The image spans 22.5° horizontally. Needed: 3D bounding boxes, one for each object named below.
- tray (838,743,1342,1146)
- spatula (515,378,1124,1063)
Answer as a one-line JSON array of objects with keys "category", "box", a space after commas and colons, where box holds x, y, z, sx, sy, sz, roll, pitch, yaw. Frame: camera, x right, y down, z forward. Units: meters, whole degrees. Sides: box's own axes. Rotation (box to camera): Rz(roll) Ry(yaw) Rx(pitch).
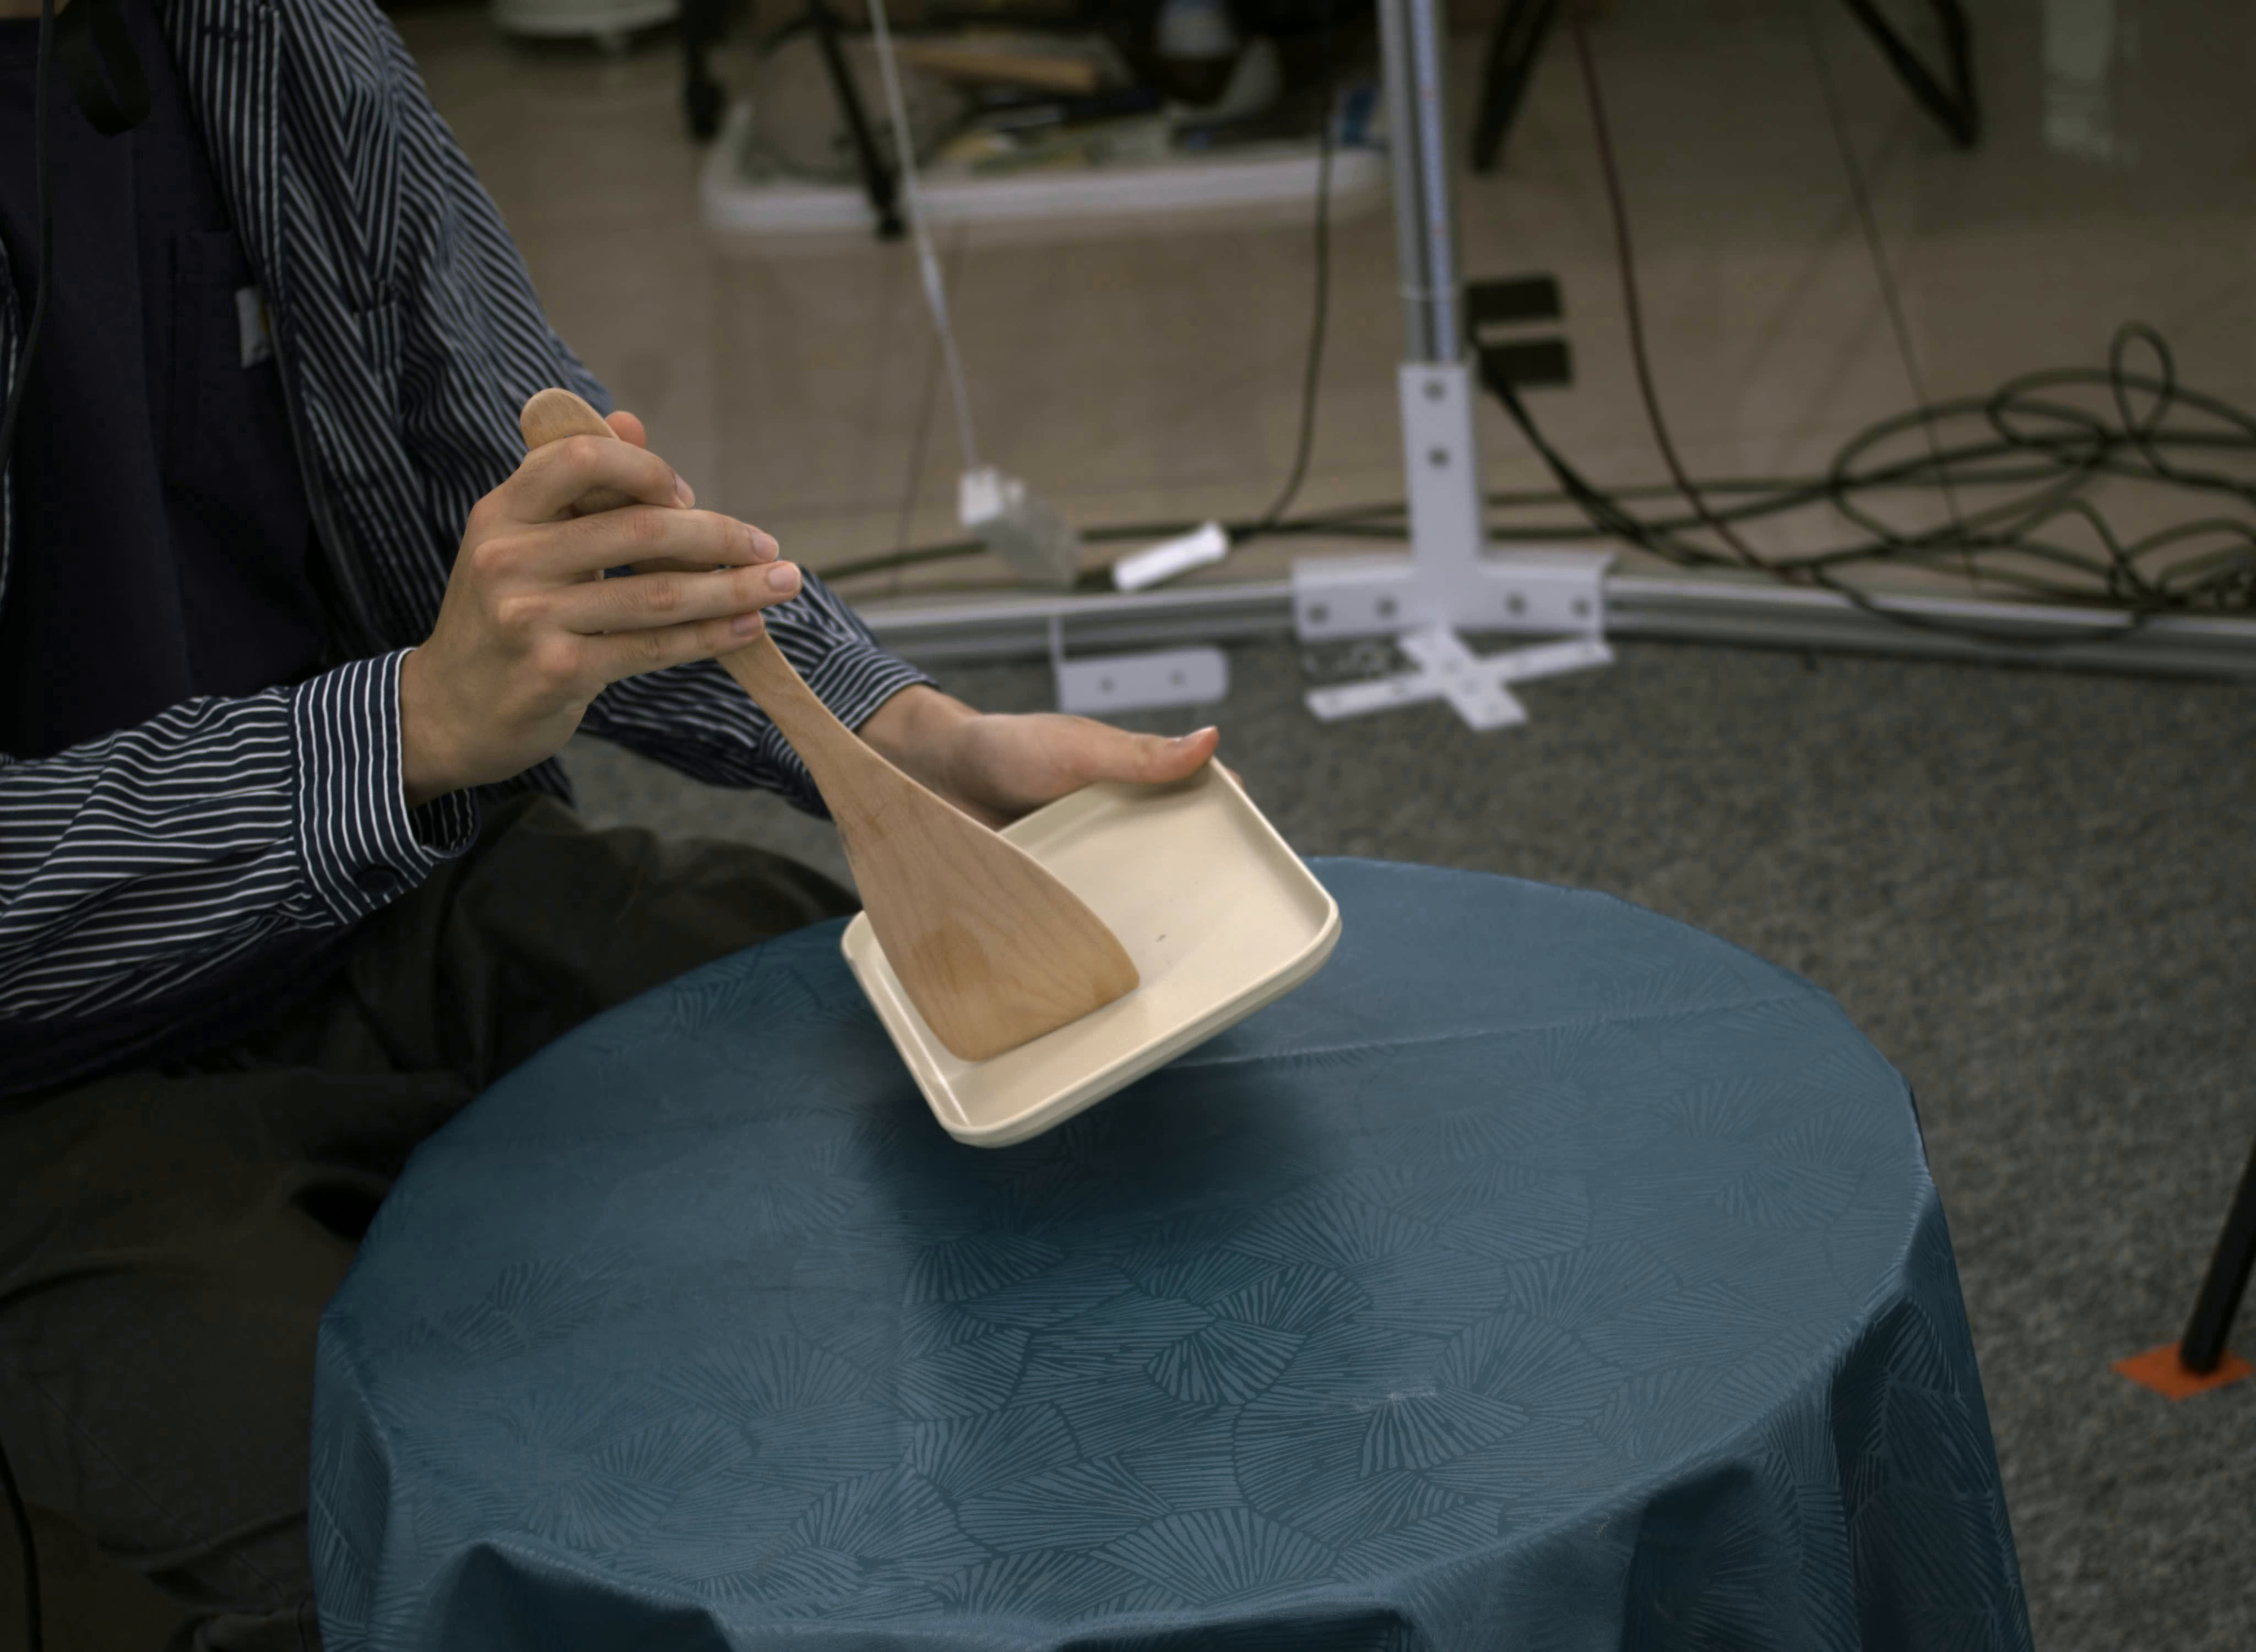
[{"category": "tray", "box": [-0.016, 0.045, 2.194, 0.171, 0.018, 0.236, -29, 25, -3]}, {"category": "spatula", "box": [-0.122, -0.038, 2.088, 0.080, 0.331, 0.016, -33, 23, 11]}]
